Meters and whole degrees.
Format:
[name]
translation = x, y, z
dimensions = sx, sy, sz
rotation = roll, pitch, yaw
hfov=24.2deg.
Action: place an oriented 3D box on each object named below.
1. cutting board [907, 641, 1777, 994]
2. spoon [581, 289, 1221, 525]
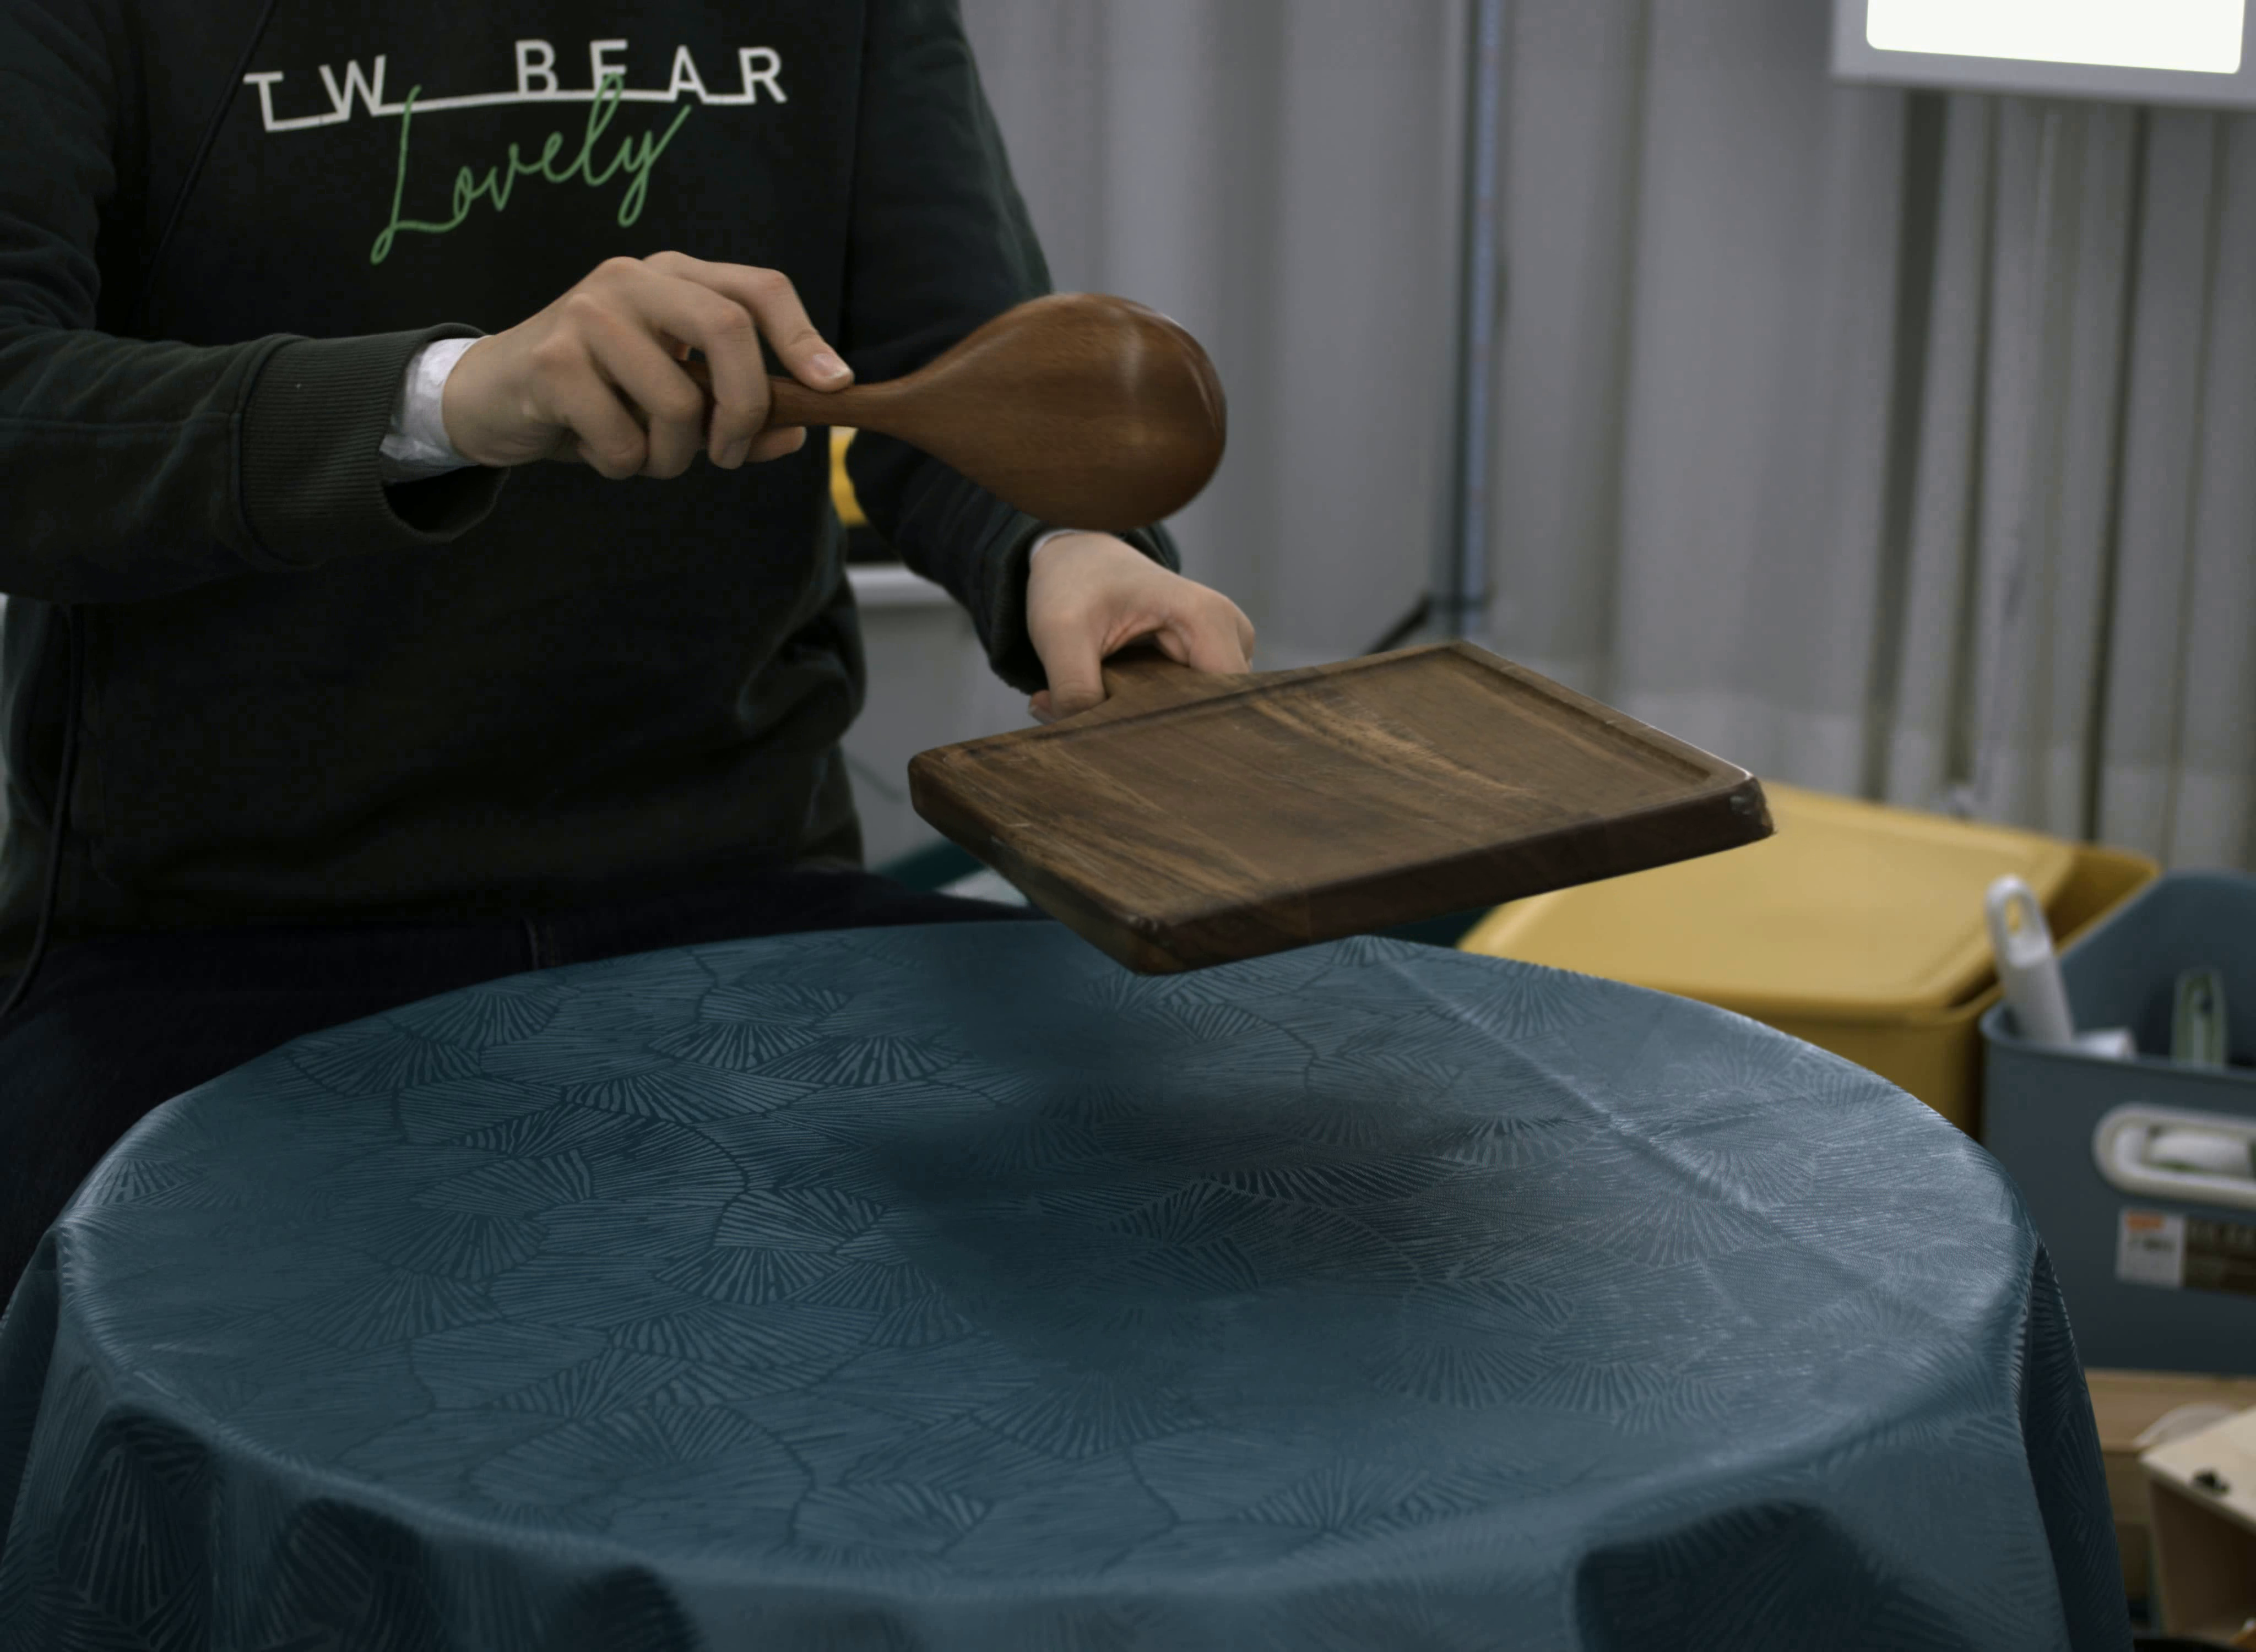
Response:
[cutting board]
translation = 0.044, -0.017, 1.652
dimensions = 0.201, 0.023, 0.348
rotation = -13, 16, -15
[spoon]
translation = -0.072, -0.126, 1.595
dimensions = 0.213, 0.076, 0.017
rotation = 3, 26, 24
